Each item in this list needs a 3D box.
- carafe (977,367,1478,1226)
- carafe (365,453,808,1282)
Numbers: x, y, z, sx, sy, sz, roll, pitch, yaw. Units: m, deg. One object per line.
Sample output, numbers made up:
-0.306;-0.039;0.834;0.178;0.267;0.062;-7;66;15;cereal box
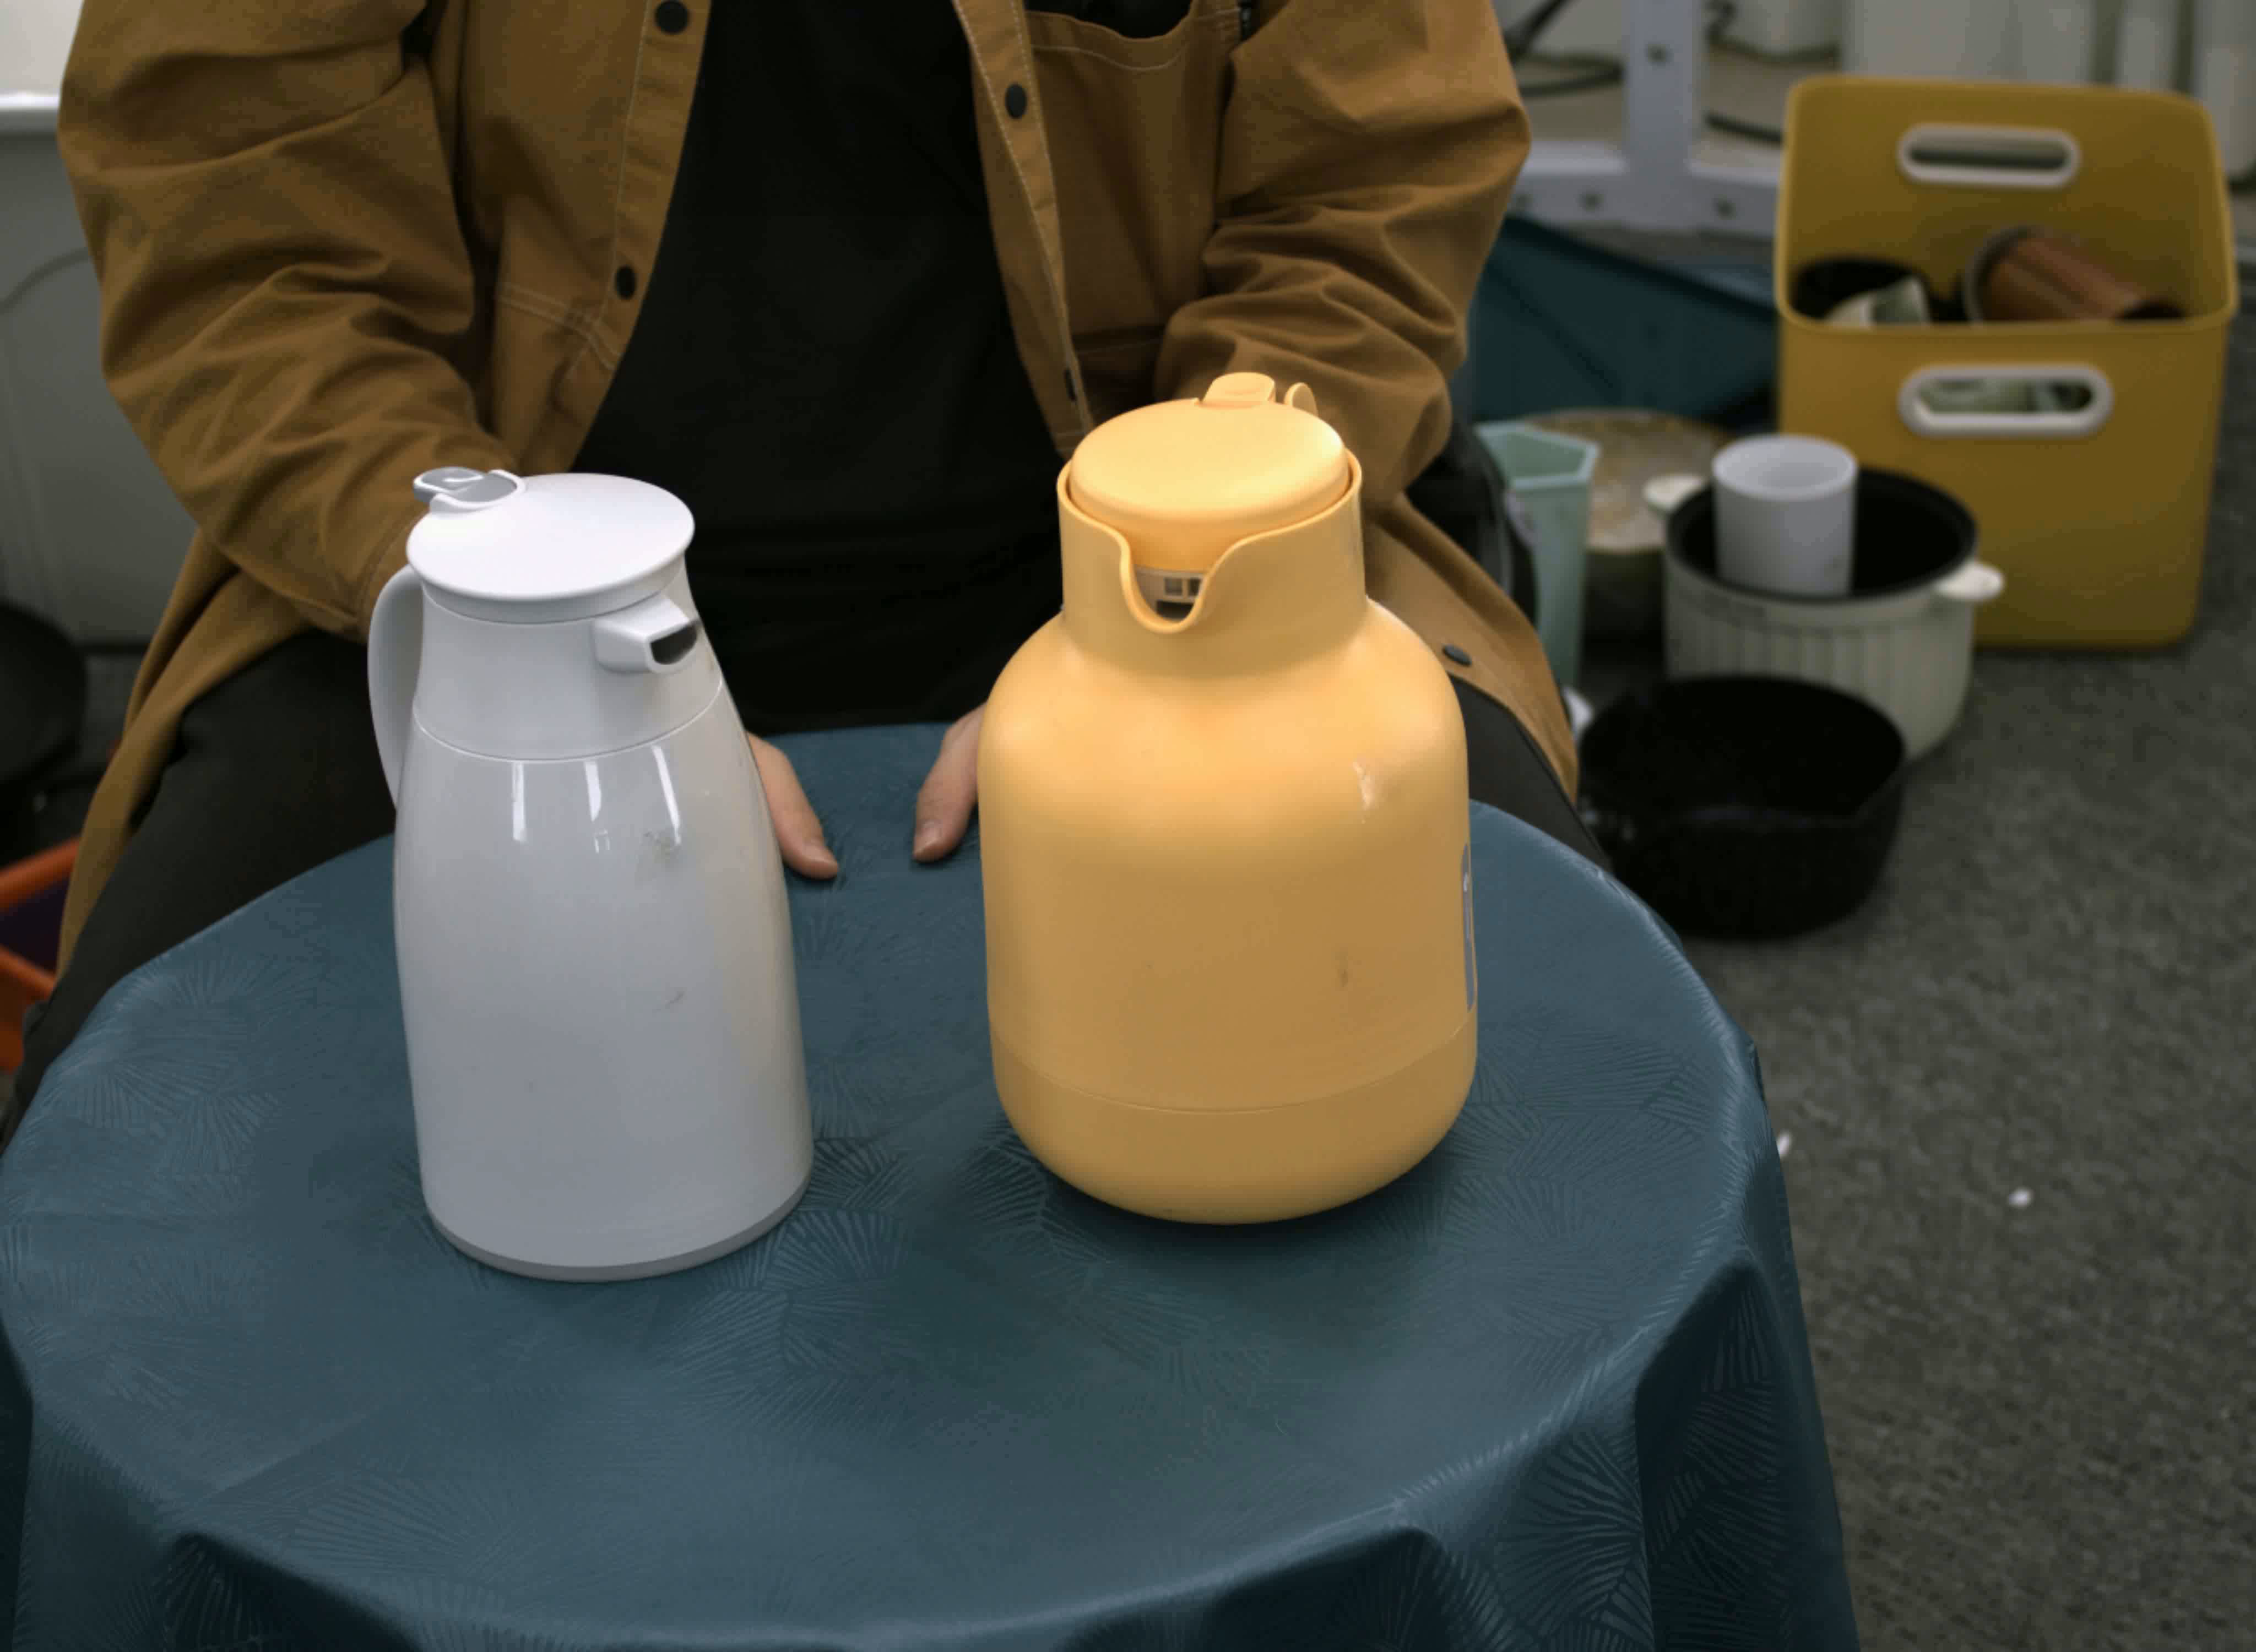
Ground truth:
0.037;-0.019;1.849;0.162;0.257;0.206;5;29;13;carafe
-0.191;0.003;1.839;0.134;0.246;0.167;-24;33;-36;carafe
